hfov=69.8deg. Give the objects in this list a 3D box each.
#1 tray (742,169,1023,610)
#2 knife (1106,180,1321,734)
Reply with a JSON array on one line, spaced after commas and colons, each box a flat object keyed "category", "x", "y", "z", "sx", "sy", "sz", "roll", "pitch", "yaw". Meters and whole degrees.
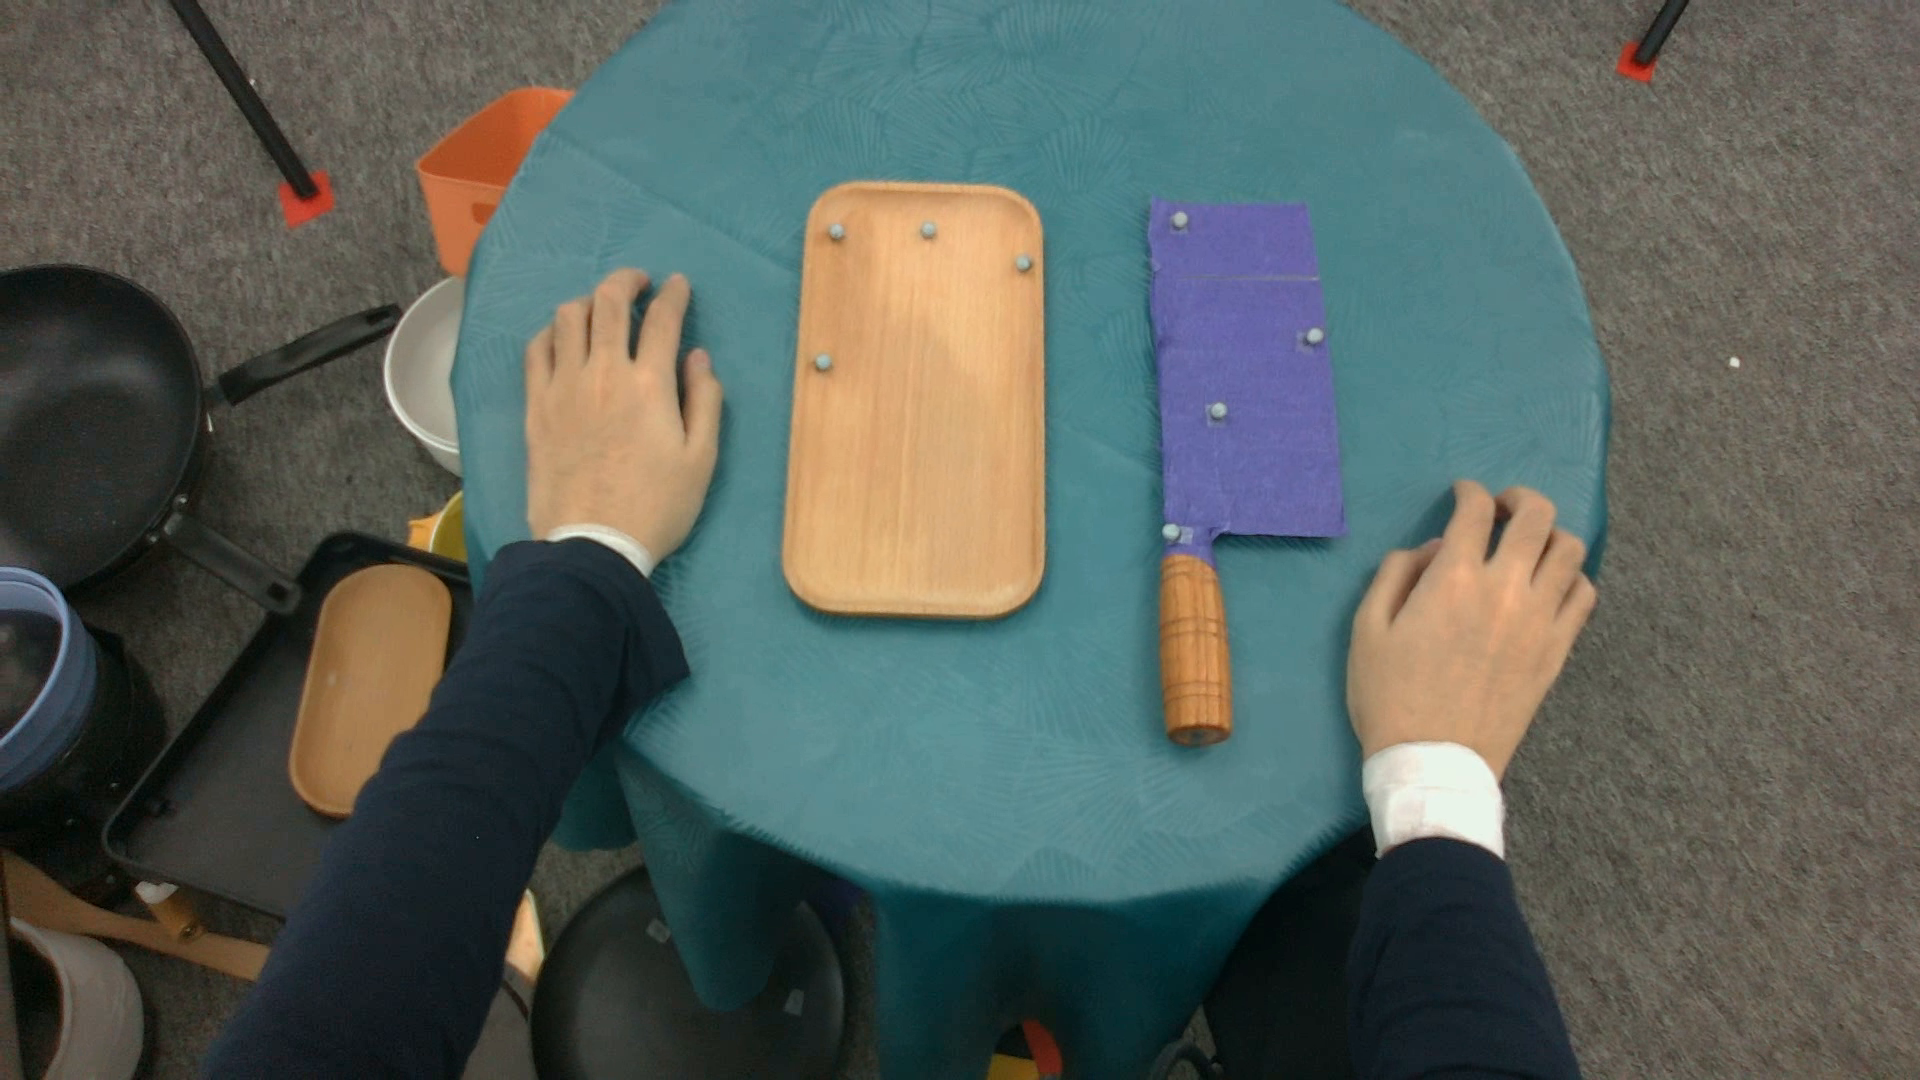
[{"category": "tray", "x": -0.035, "y": -0.083, "z": 0.702, "sx": 0.130, "sy": 0.023, "sz": 0.251, "roll": 3, "pitch": 66, "yaw": 1}, {"category": "knife", "x": 0.132, "y": -0.057, "z": 0.693, "sx": 0.104, "sy": 0.032, "sz": 0.316, "roll": 1, "pitch": 65, "yaw": -2}]
